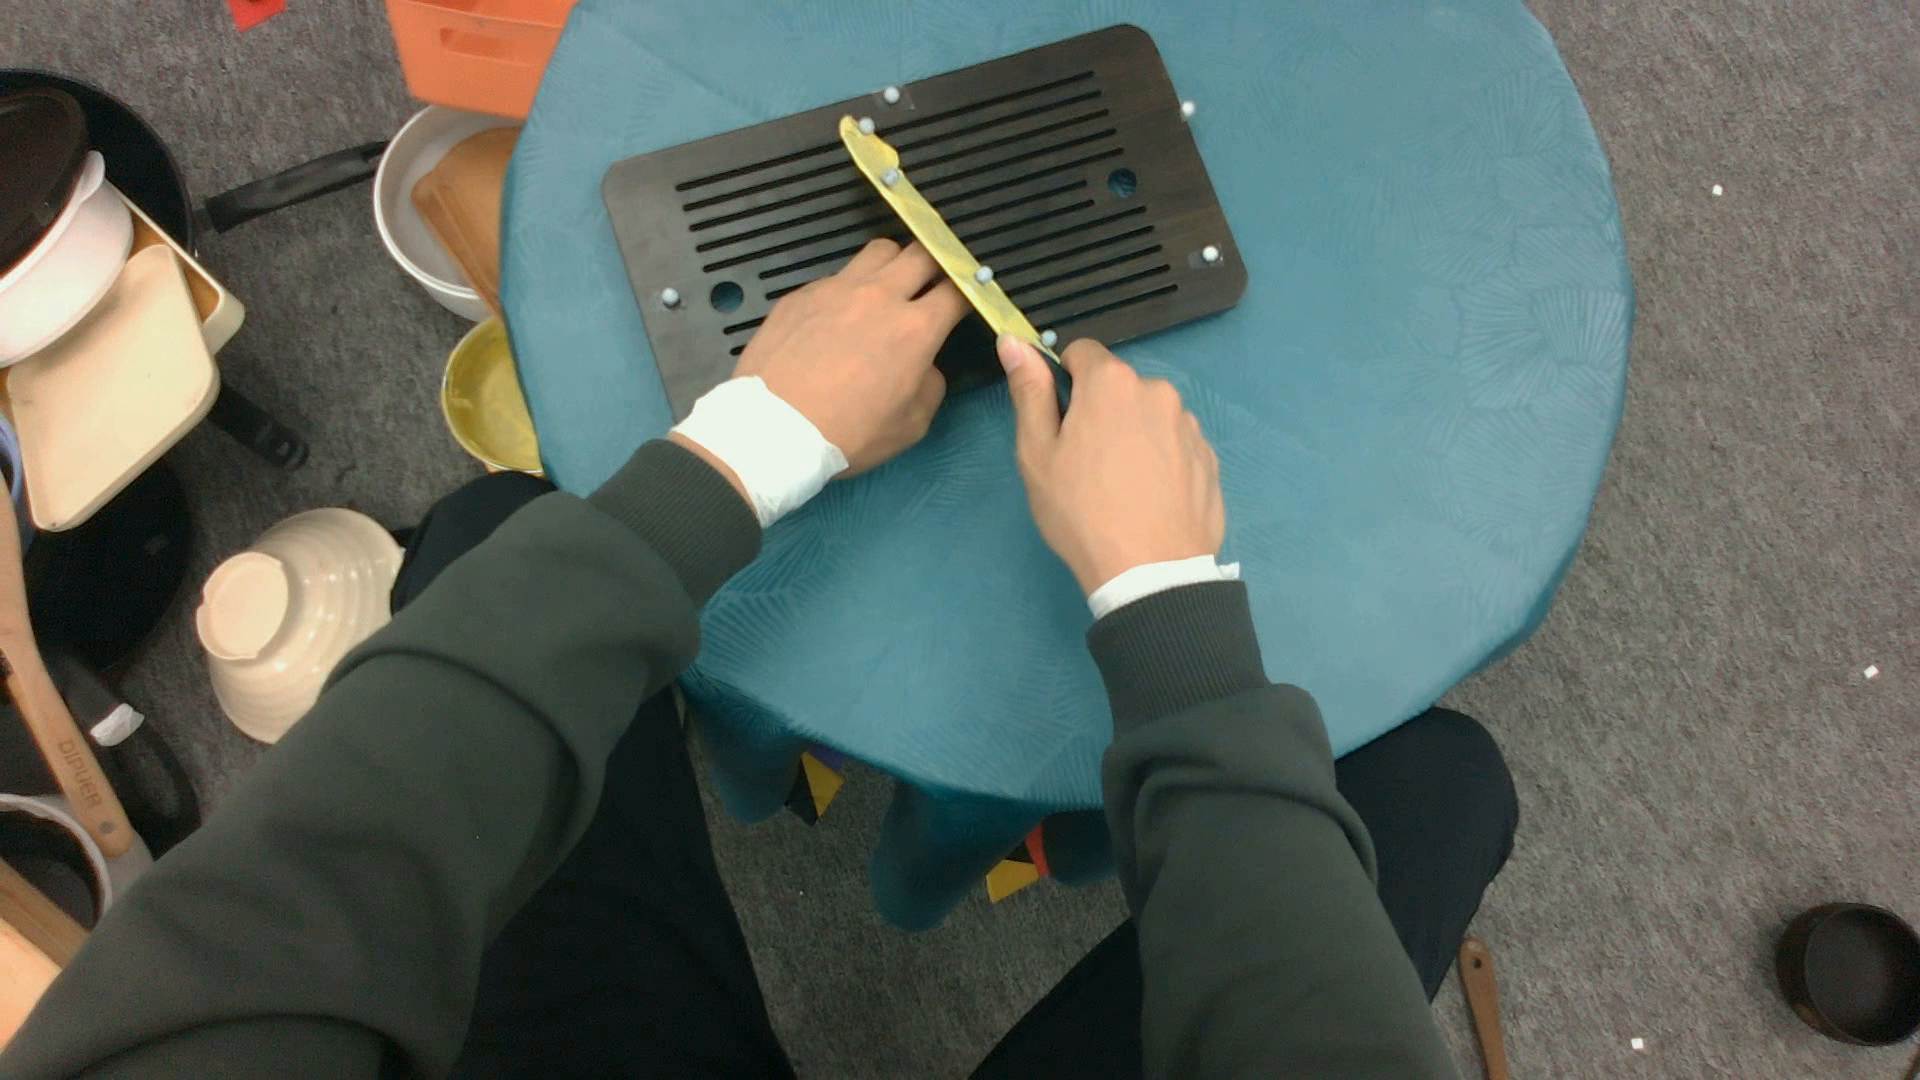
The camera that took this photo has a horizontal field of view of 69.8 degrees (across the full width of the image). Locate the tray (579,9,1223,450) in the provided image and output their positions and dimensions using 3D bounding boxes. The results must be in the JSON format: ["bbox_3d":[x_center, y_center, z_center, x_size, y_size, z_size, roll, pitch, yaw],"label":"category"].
[{"bbox_3d":[-0.028,-0.166,0.718,0.306,0.018,0.170,-18,79,-9],"label":"tray"}]

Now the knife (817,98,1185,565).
[{"bbox_3d":[0.016,-0.107,0.667,0.027,0.081,0.289,-40,80,20],"label":"knife"}]
